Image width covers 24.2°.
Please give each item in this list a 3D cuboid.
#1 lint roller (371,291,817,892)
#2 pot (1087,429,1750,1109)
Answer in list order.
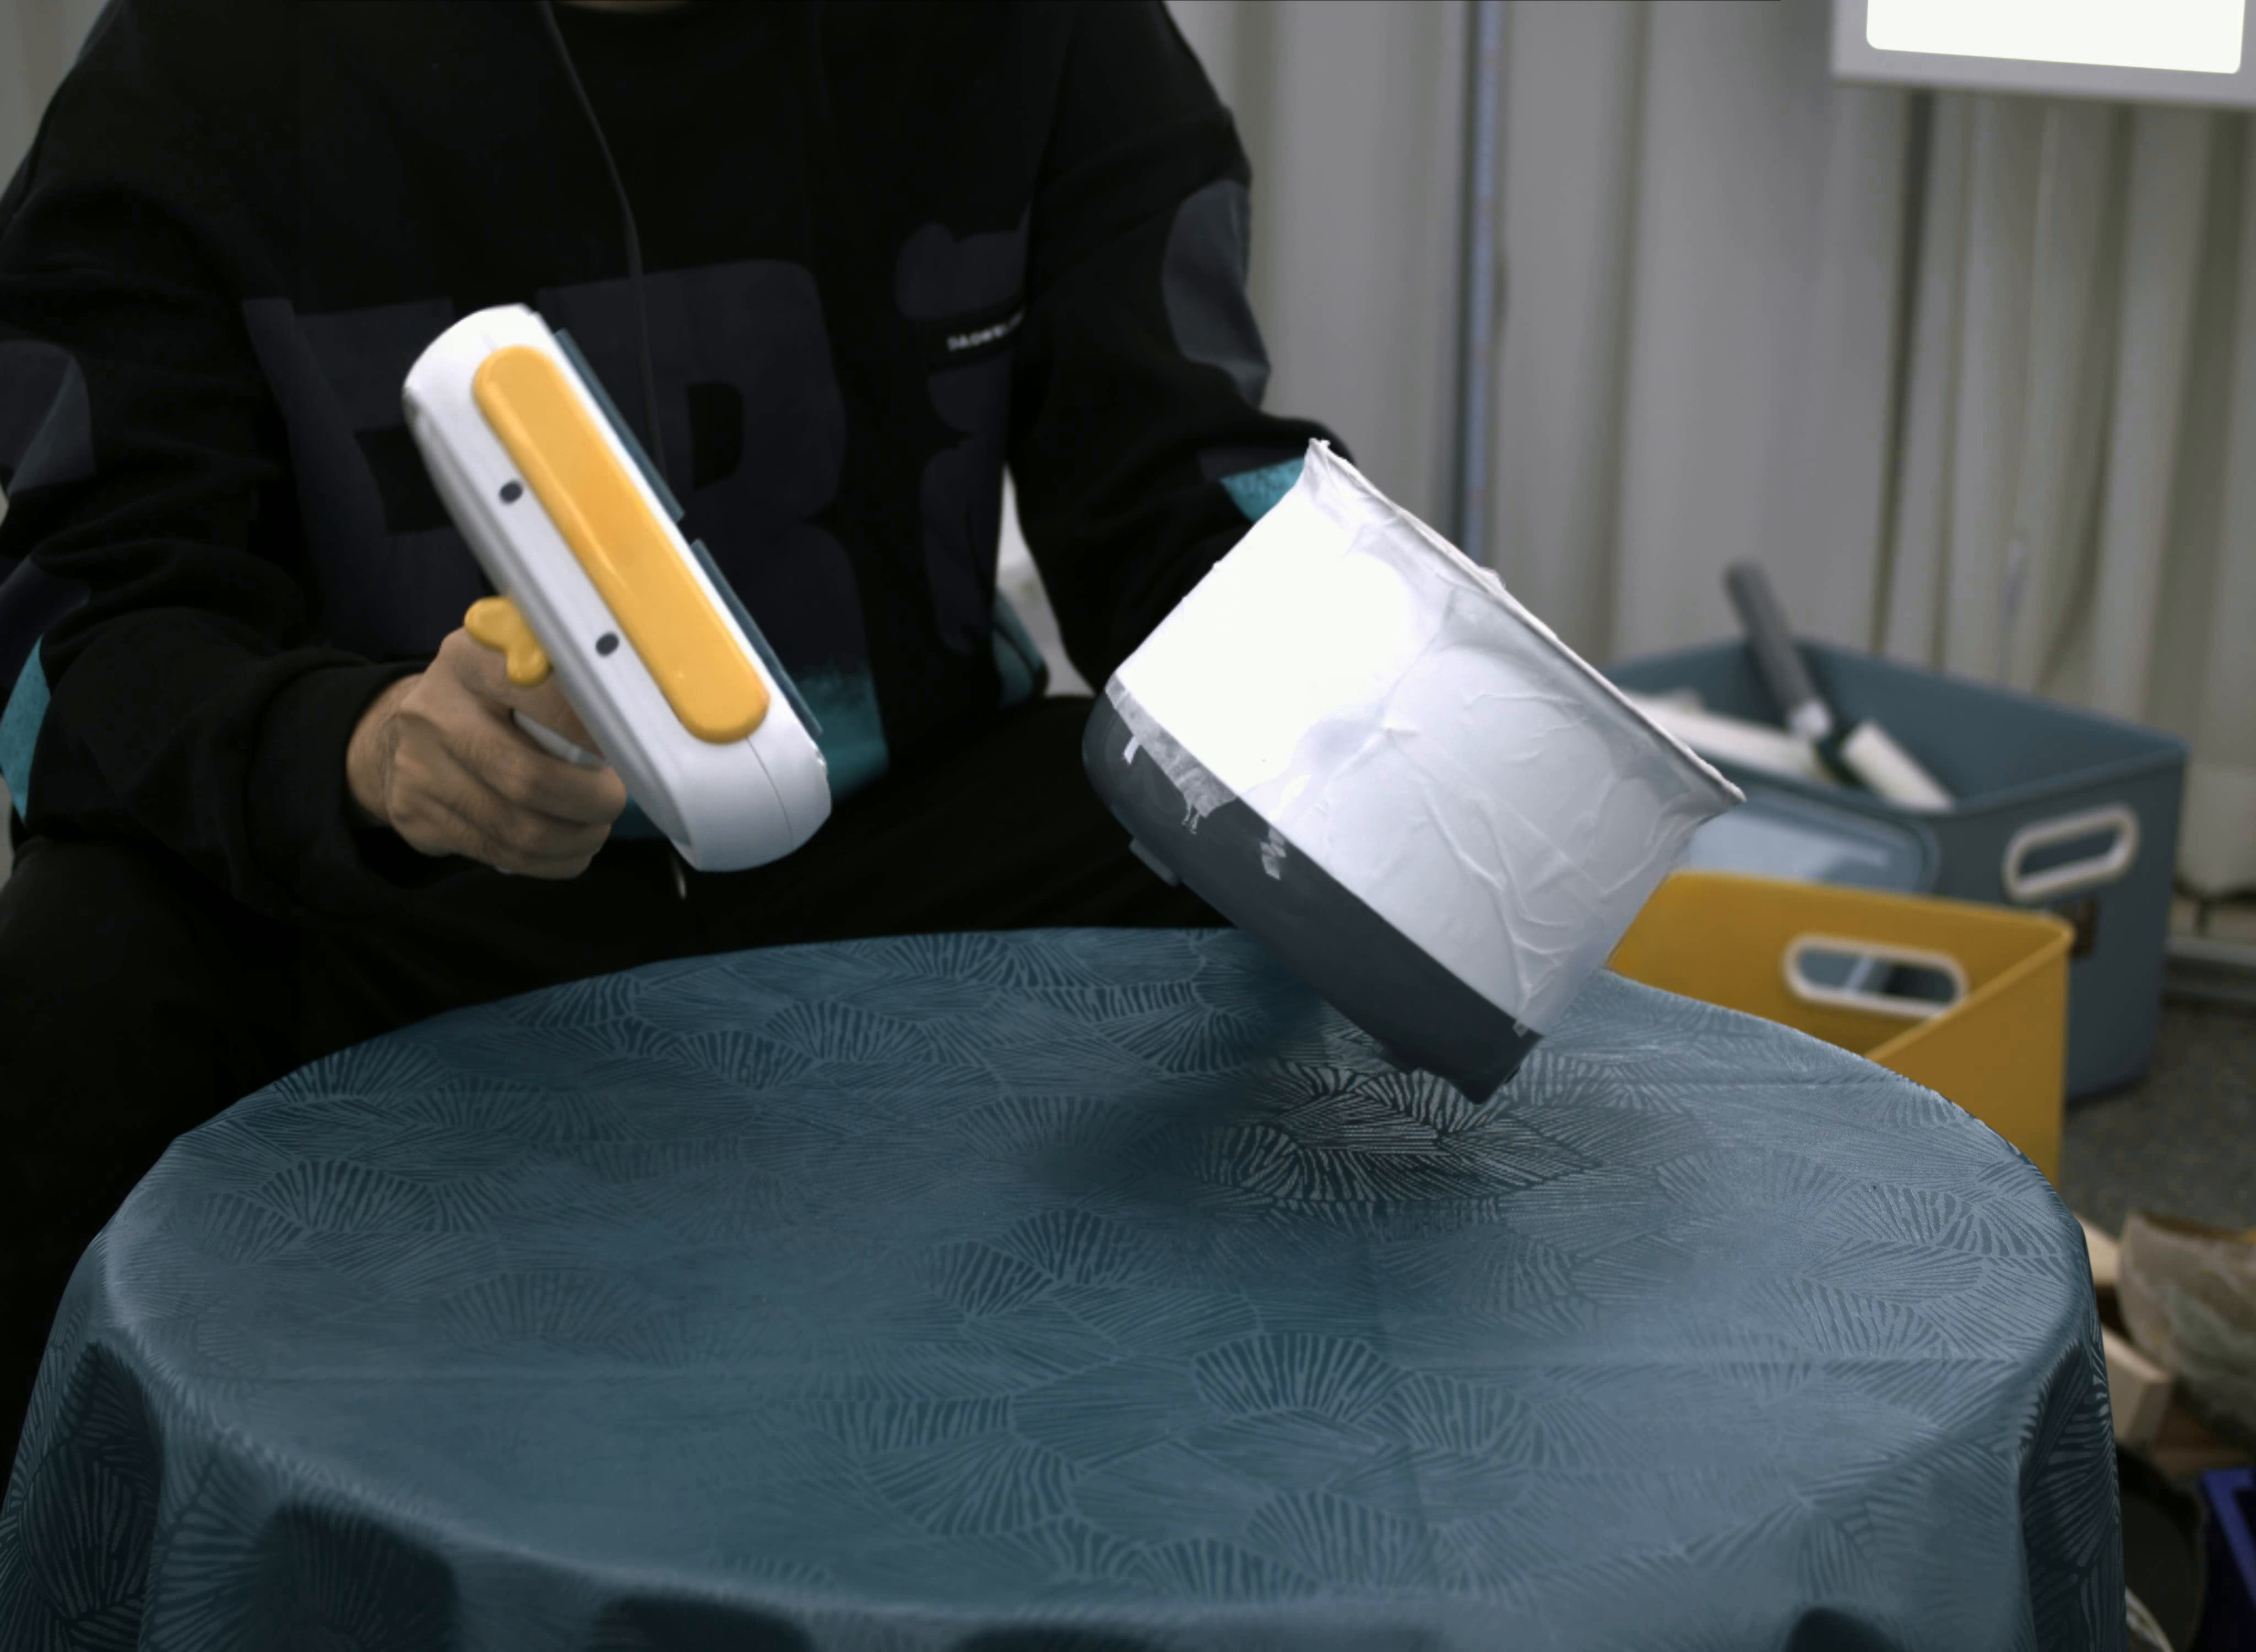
[{"bbox_3d":[-0.172,-0.045,1.624,0.074,0.194,0.191,-33,71,-22],"label":"lint roller"},{"bbox_3d":[0.084,-0.021,1.668,0.179,0.136,0.232,41,5,-9],"label":"pot"}]
